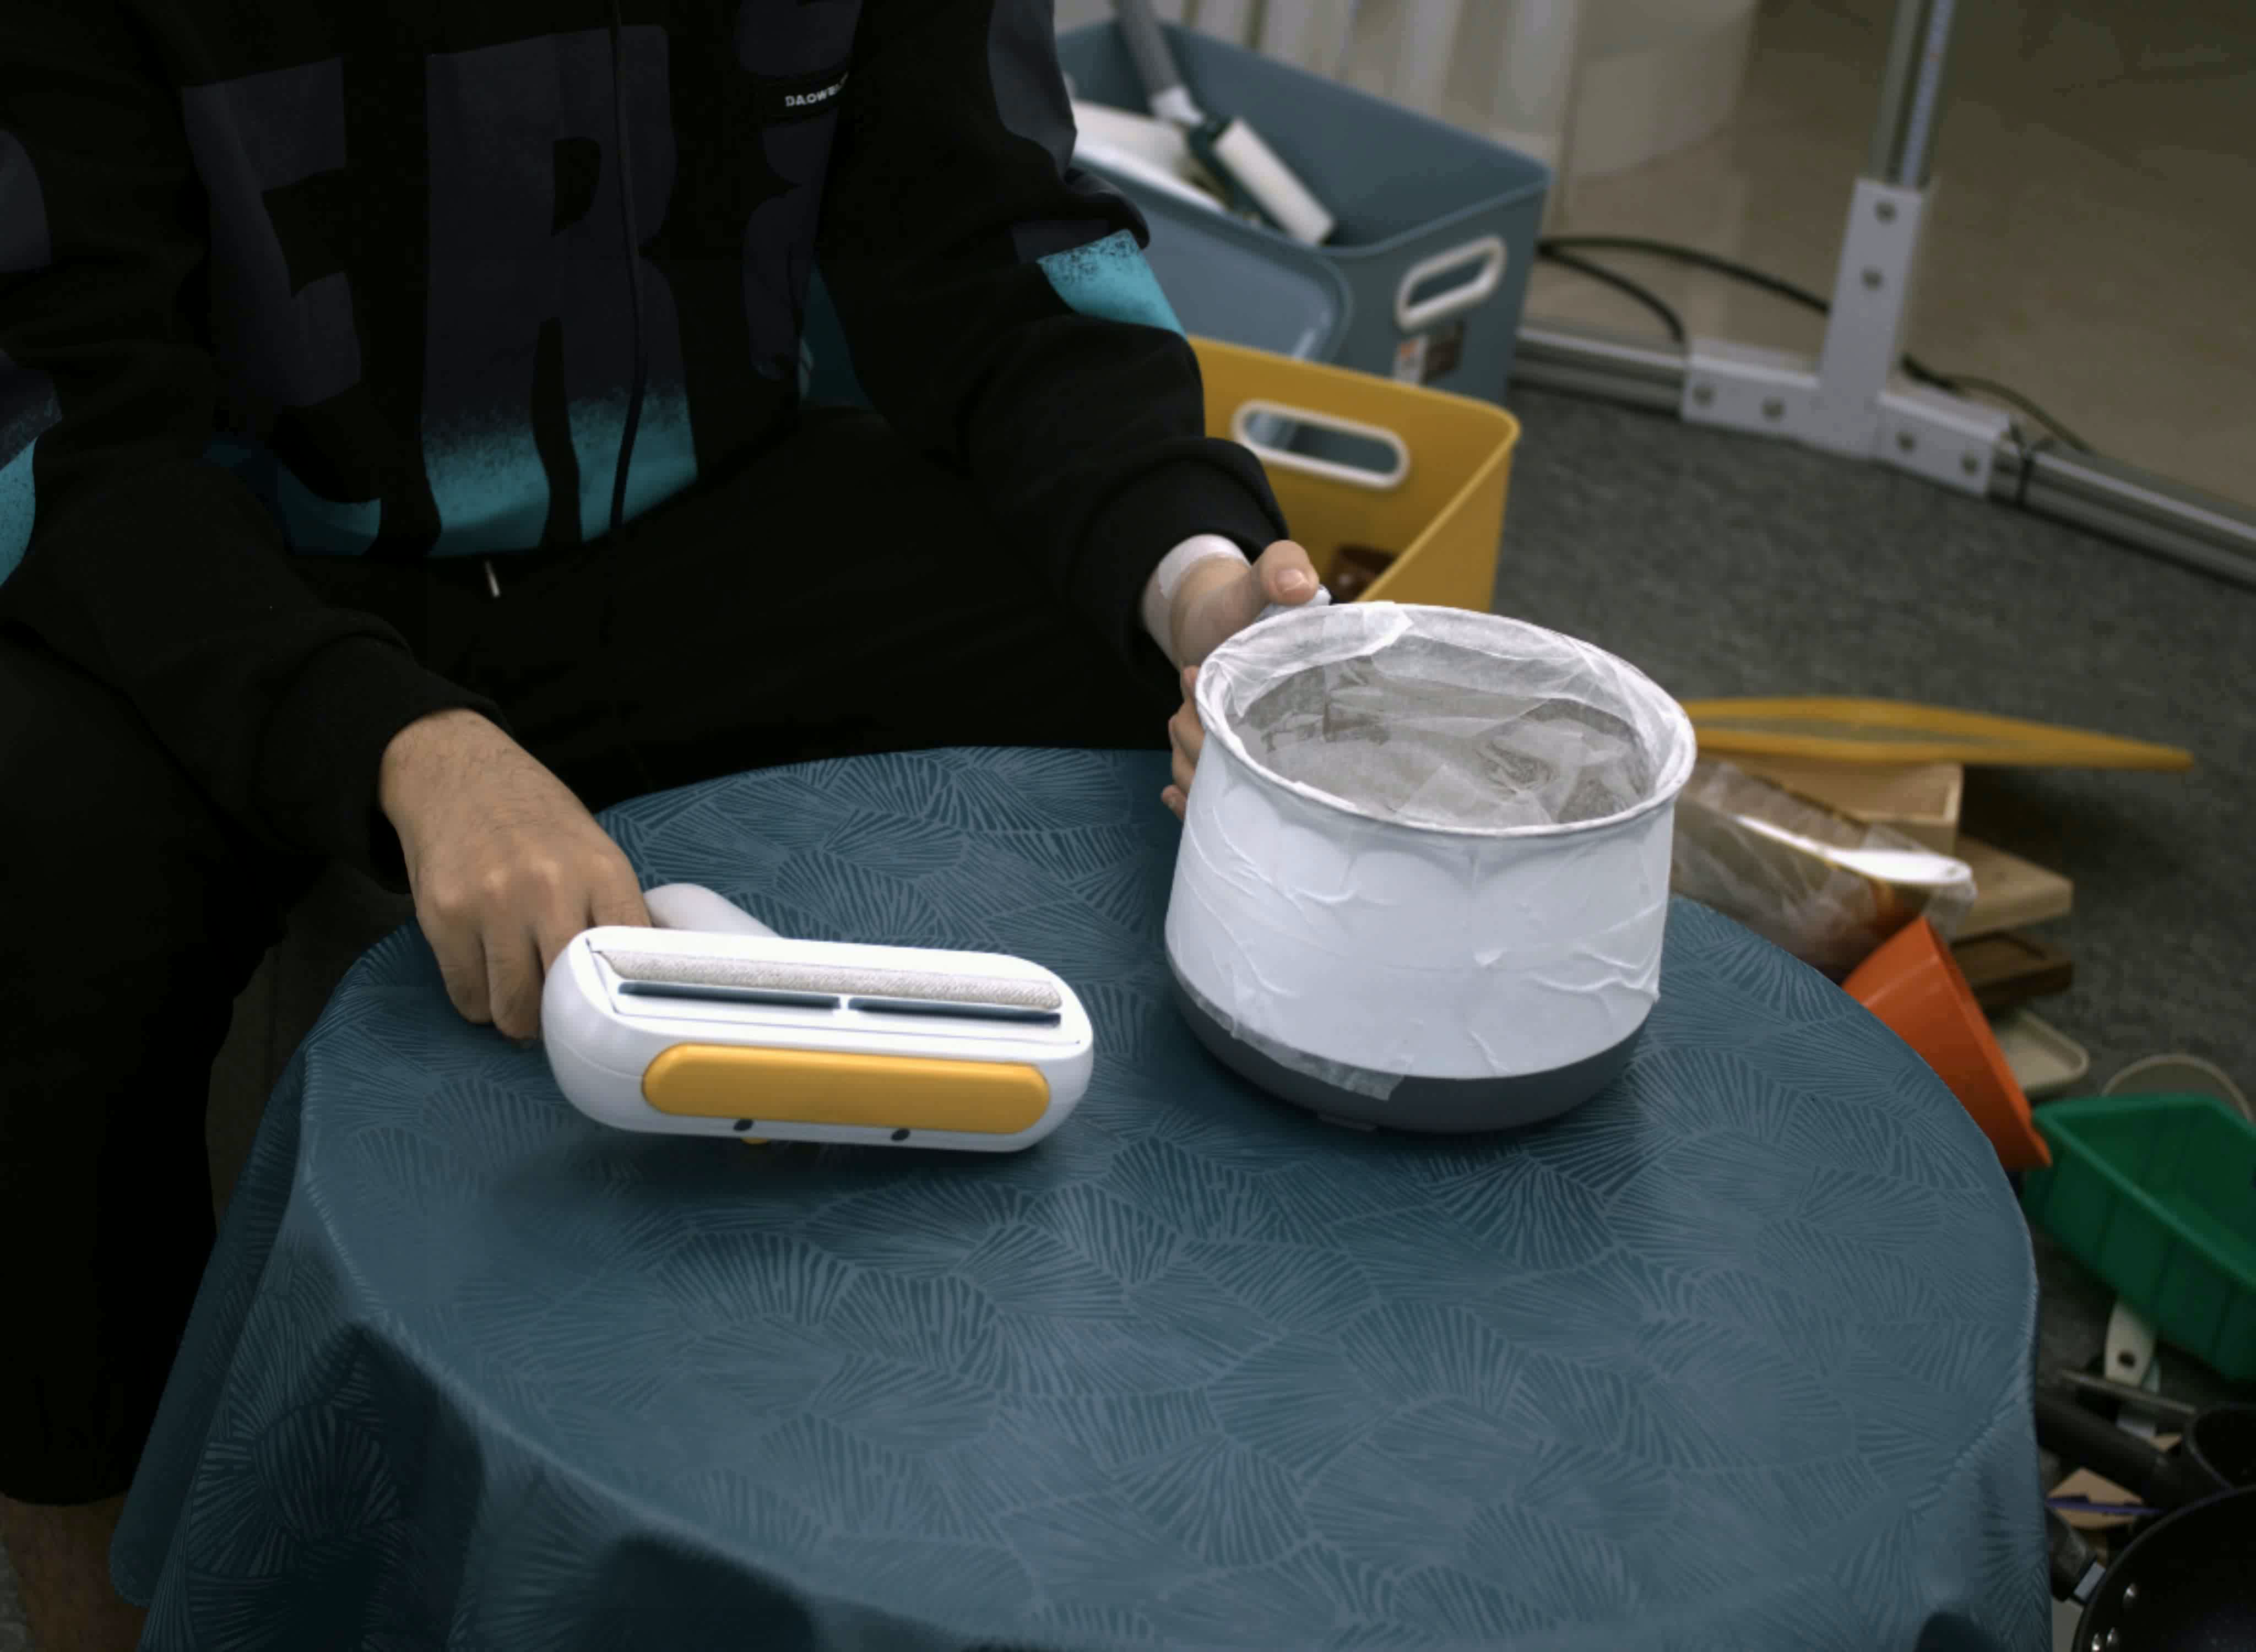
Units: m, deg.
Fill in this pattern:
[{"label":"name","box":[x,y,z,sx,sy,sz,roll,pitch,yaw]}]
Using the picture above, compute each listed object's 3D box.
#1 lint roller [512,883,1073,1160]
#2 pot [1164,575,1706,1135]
[{"label":"lint roller","box":[-0.130,0.053,1.835,0.191,0.074,0.194,2,25,-20]},{"label":"pot","box":[0.092,0.003,1.901,0.177,0.136,0.236,-7,31,-28]}]
